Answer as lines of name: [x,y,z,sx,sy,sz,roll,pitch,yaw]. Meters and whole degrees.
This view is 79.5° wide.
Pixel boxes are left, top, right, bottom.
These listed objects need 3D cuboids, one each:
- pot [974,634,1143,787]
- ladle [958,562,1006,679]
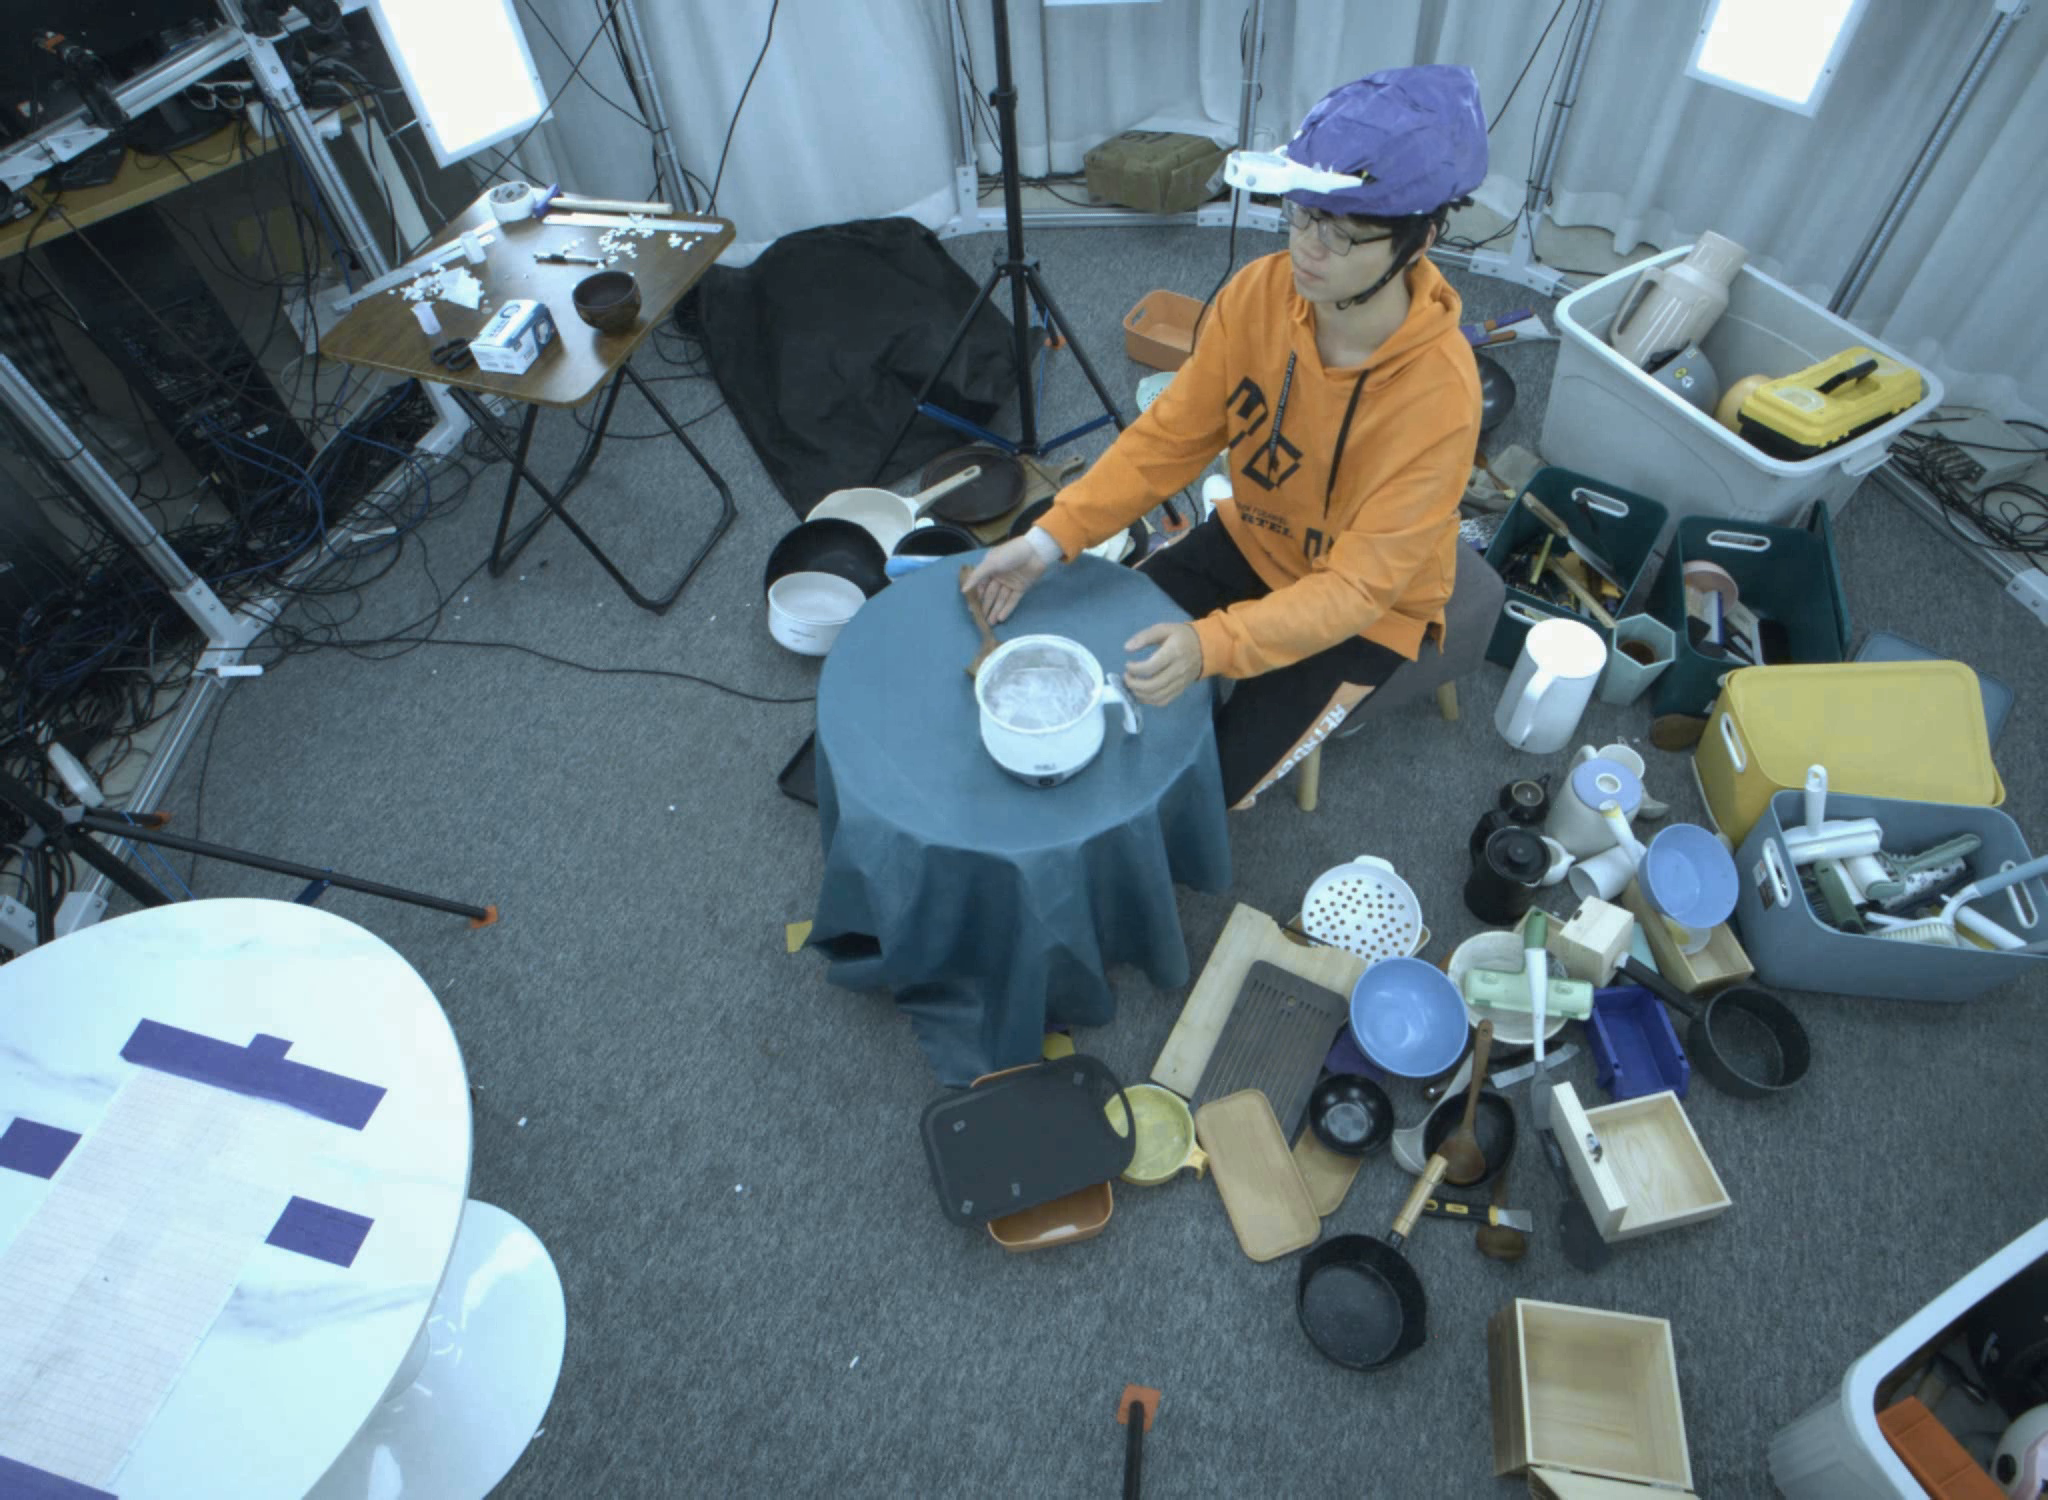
pot: [0.051,-0.058,1.741,0.234,0.138,0.176,-5,55,0]
ladle: [-0.079,-0.213,1.903,0.076,0.066,0.256,-26,55,15]
